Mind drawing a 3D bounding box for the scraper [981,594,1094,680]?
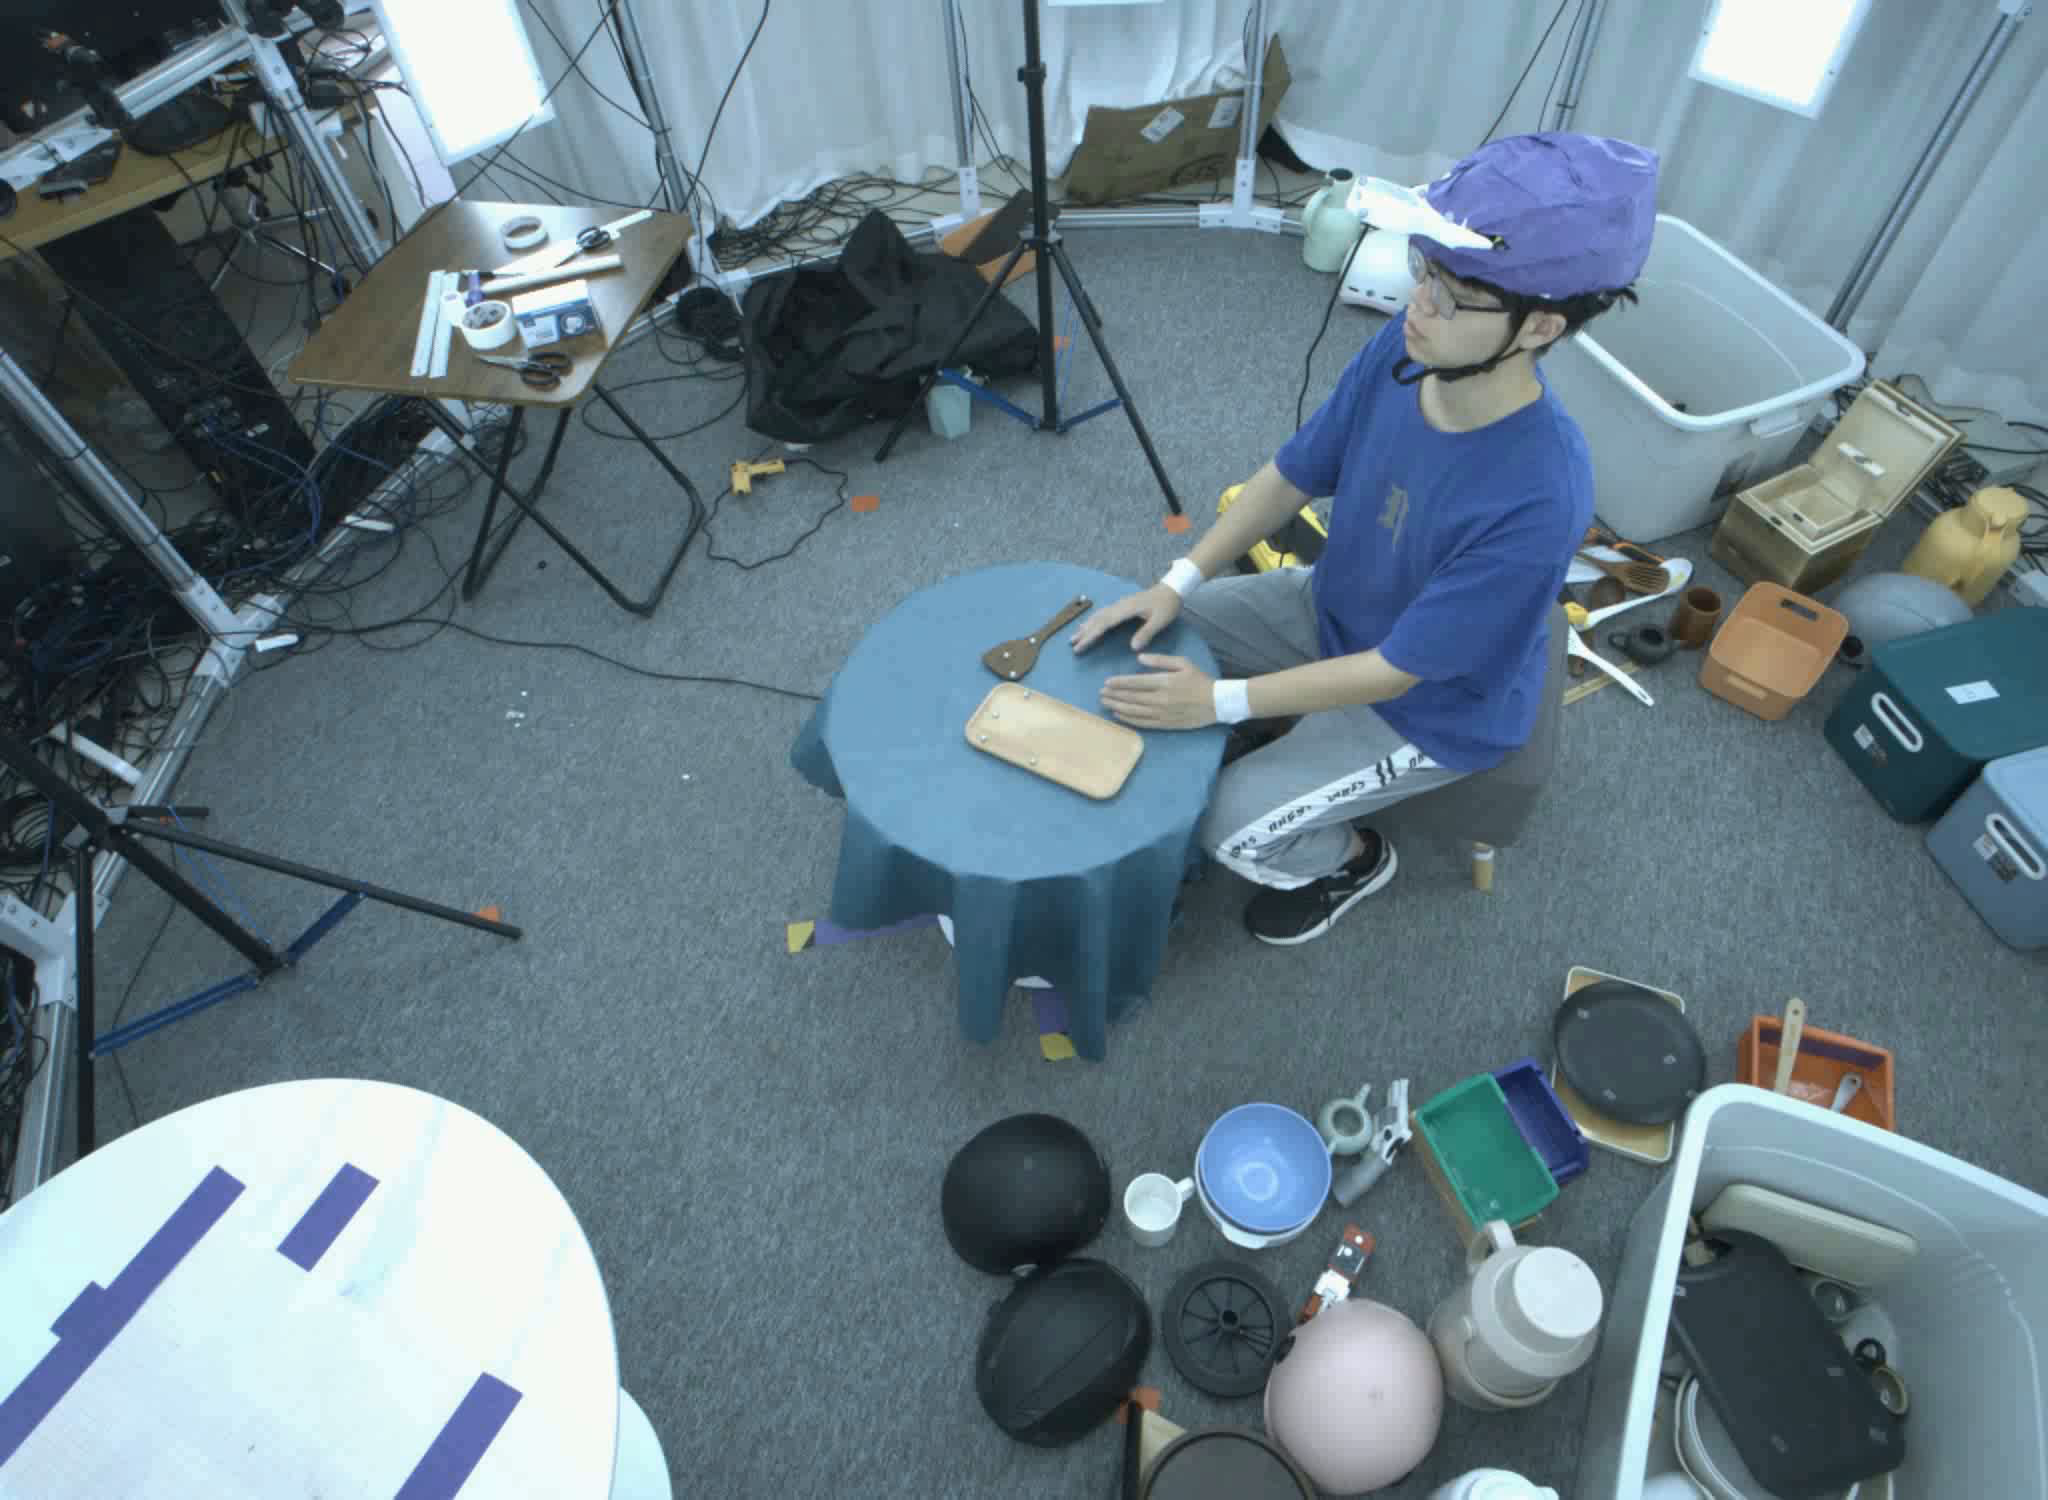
[{"bbox_3d":[0.029,-0.180,1.901,0.074,0.011,0.213,38,63,25],"label":"scraper"}]

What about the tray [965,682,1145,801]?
[{"bbox_3d":[0.044,-0.014,1.776,0.247,0.023,0.131,25,61,18],"label":"tray"}]
